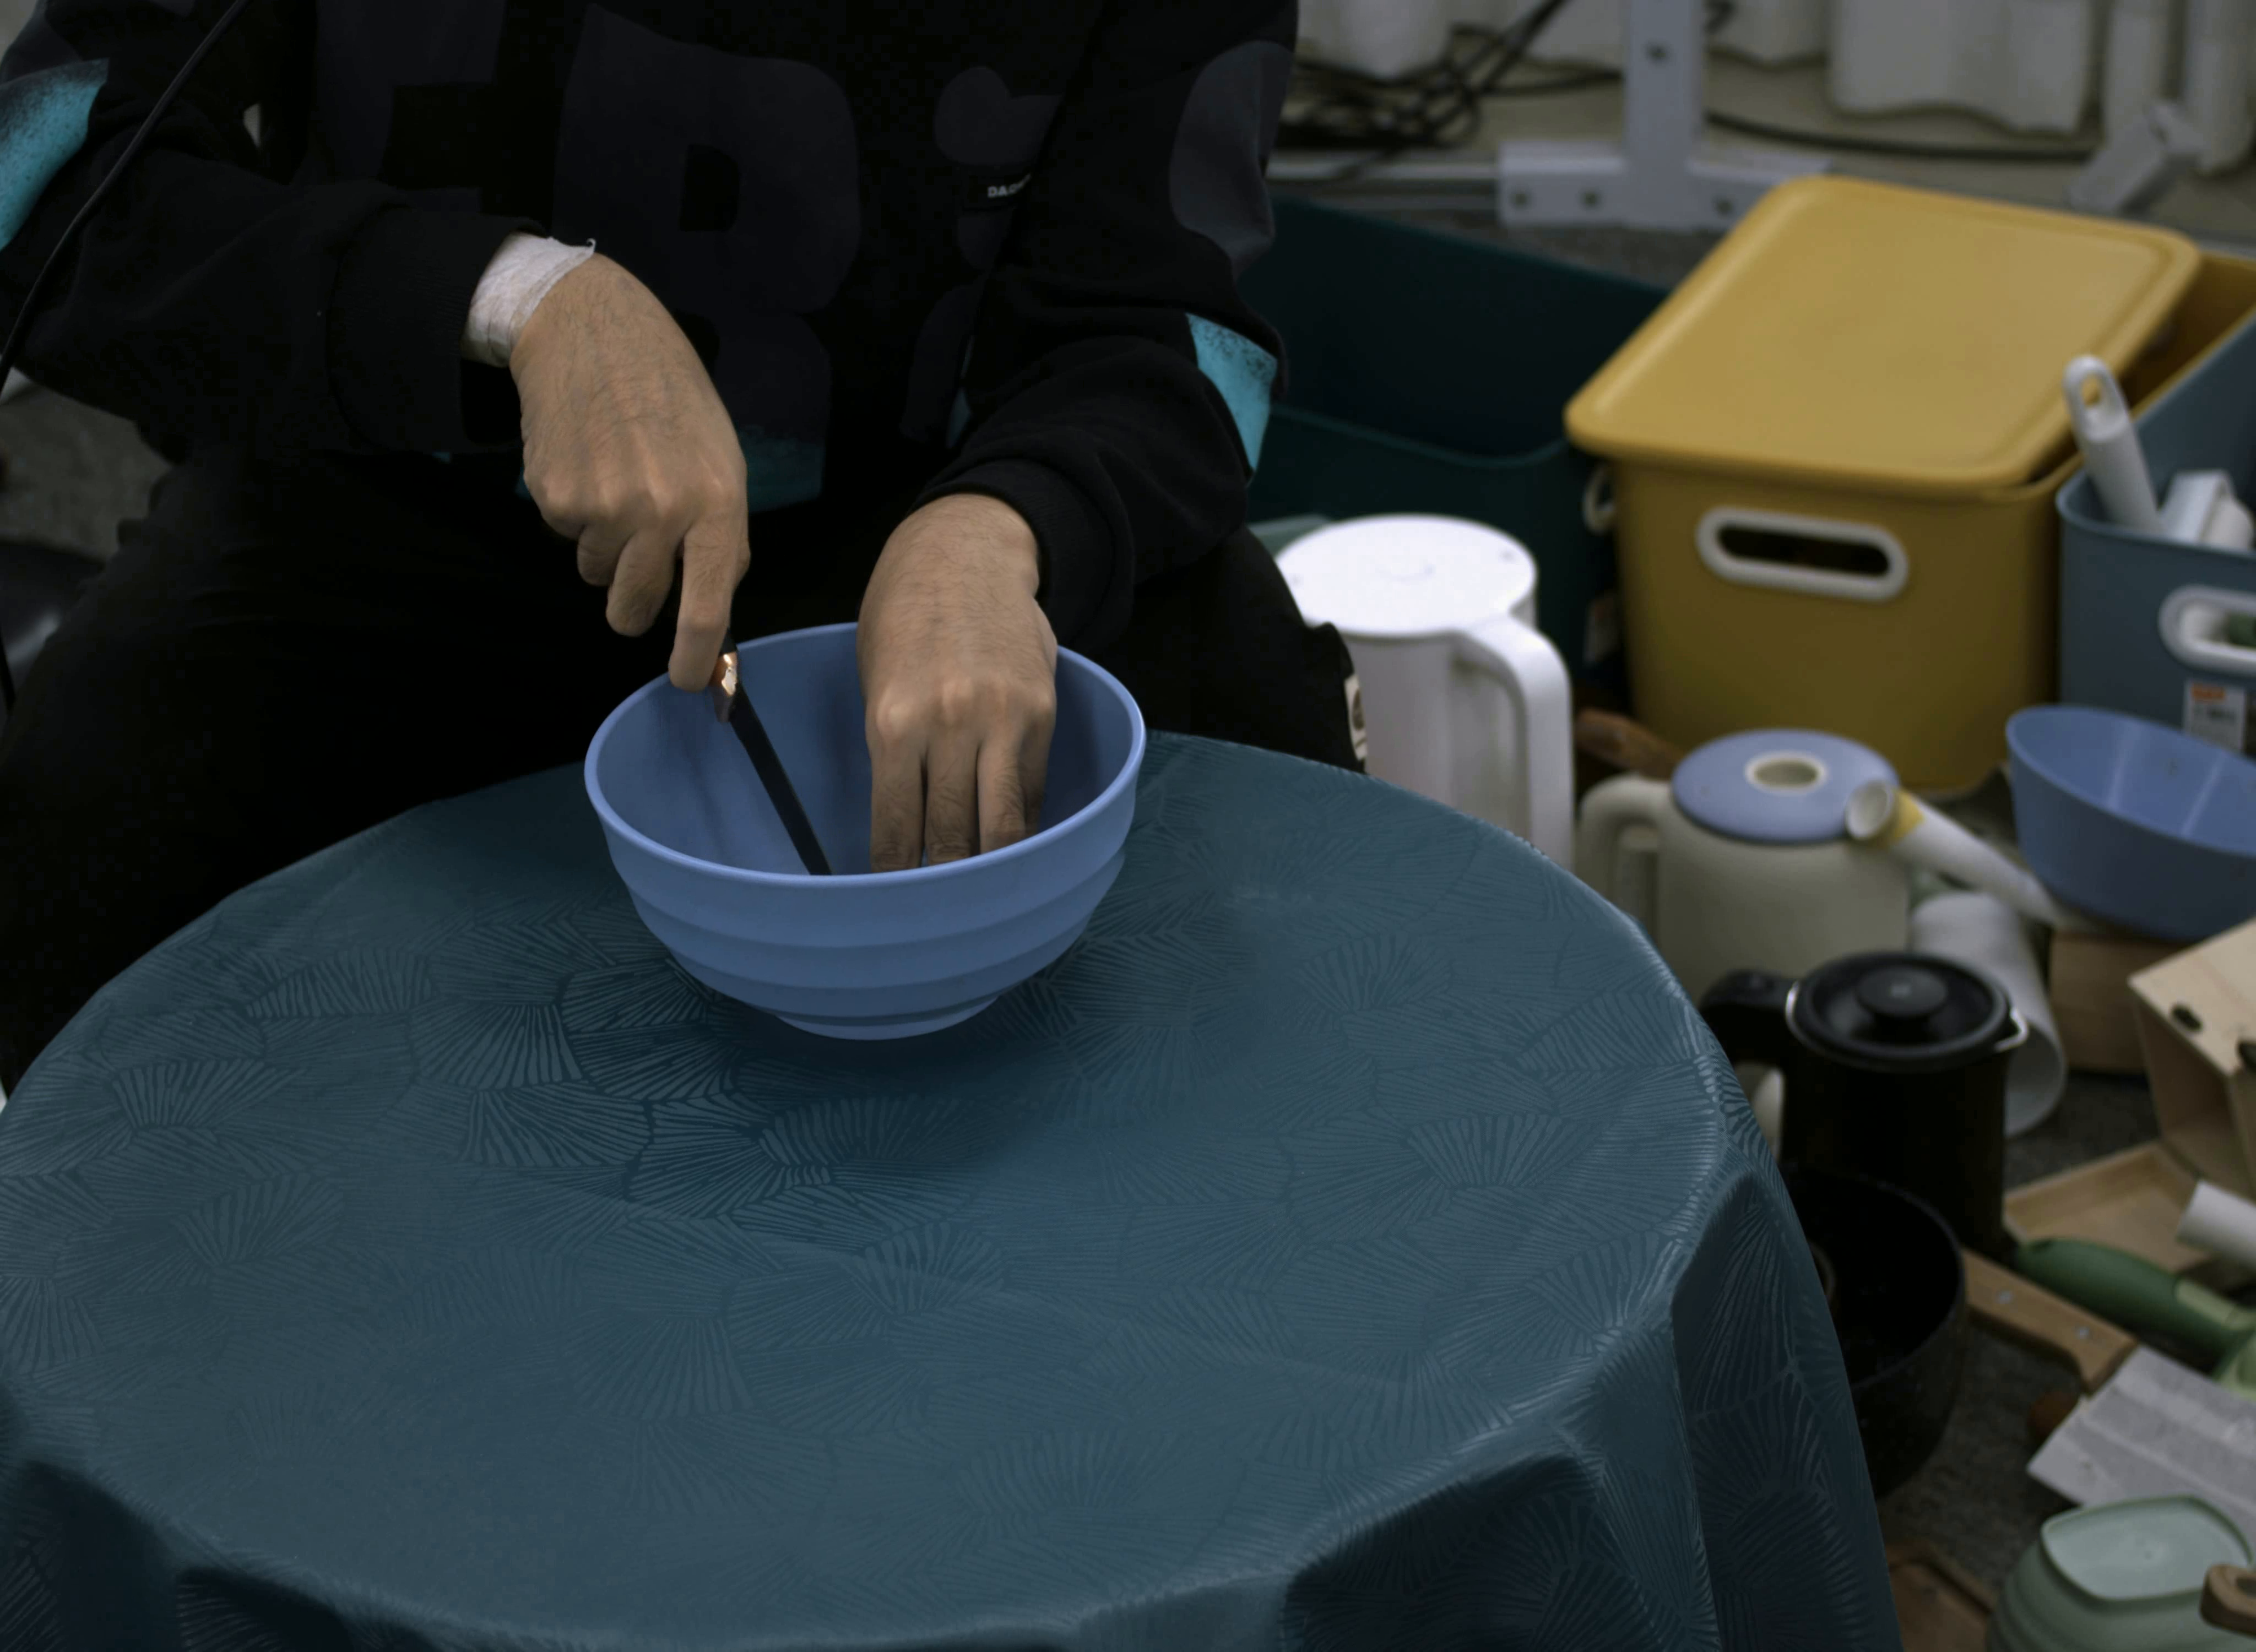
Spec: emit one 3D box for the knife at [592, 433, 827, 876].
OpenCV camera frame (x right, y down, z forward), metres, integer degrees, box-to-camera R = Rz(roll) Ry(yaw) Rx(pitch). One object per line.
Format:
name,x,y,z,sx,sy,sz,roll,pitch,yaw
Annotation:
knife,-0.138,-0.039,2.001,0.017,0.026,0.227,-18,75,-32

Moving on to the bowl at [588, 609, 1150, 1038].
bowl,-0.089,0.011,1.977,0.195,0.094,0.200,-1,30,1
